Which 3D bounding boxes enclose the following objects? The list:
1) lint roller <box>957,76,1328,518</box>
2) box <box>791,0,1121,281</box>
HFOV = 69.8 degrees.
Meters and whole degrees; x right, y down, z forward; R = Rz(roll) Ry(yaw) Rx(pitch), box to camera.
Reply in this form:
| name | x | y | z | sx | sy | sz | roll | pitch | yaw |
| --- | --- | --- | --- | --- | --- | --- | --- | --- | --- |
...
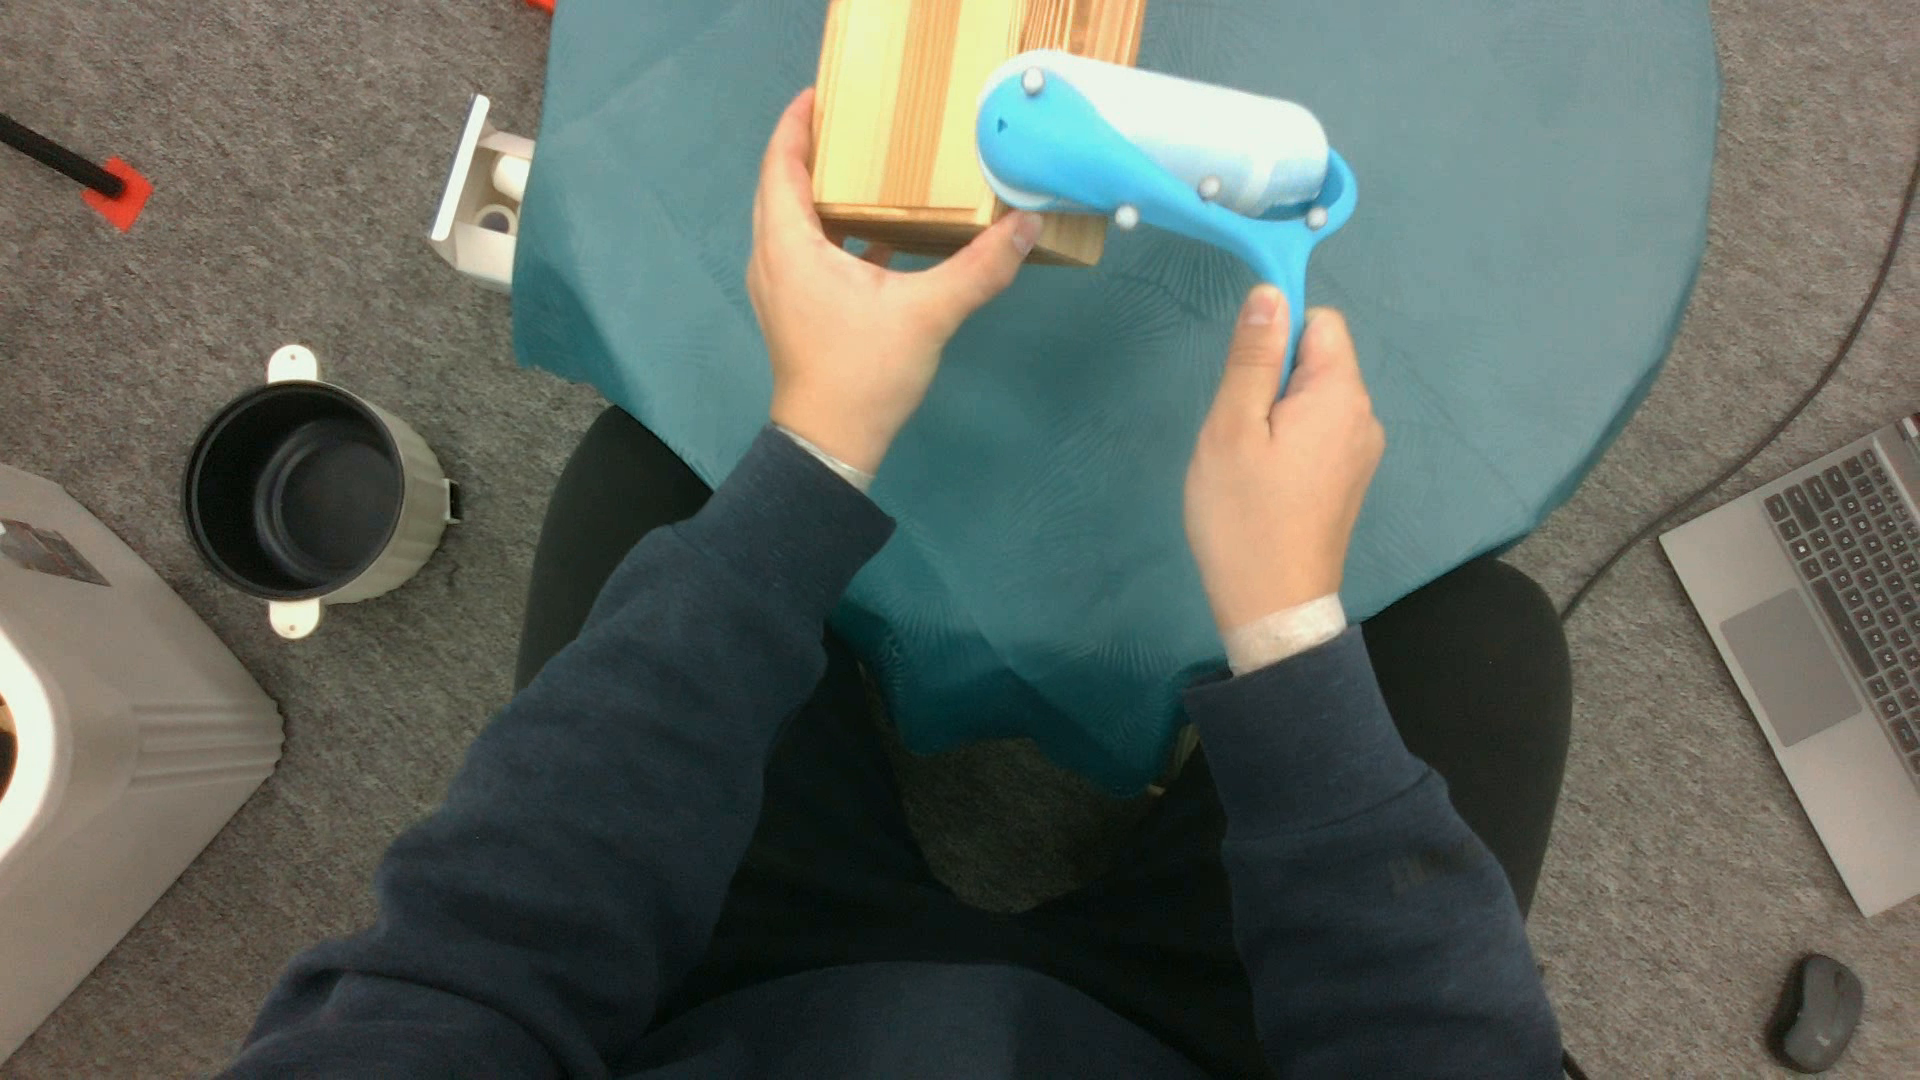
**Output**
| name | x | y | z | sx | sy | sz | roll | pitch | yaw |
| --- | --- | --- | --- | --- | --- | --- | --- | --- | --- |
| lint roller | 0.102 | -0.103 | 0.569 | 0.067 | 0.230 | 0.180 | -28 | 84 | 37 |
| box | 0.003 | -0.224 | 0.592 | 0.107 | 0.080 | 0.211 | 9 | 94 | 38 |
